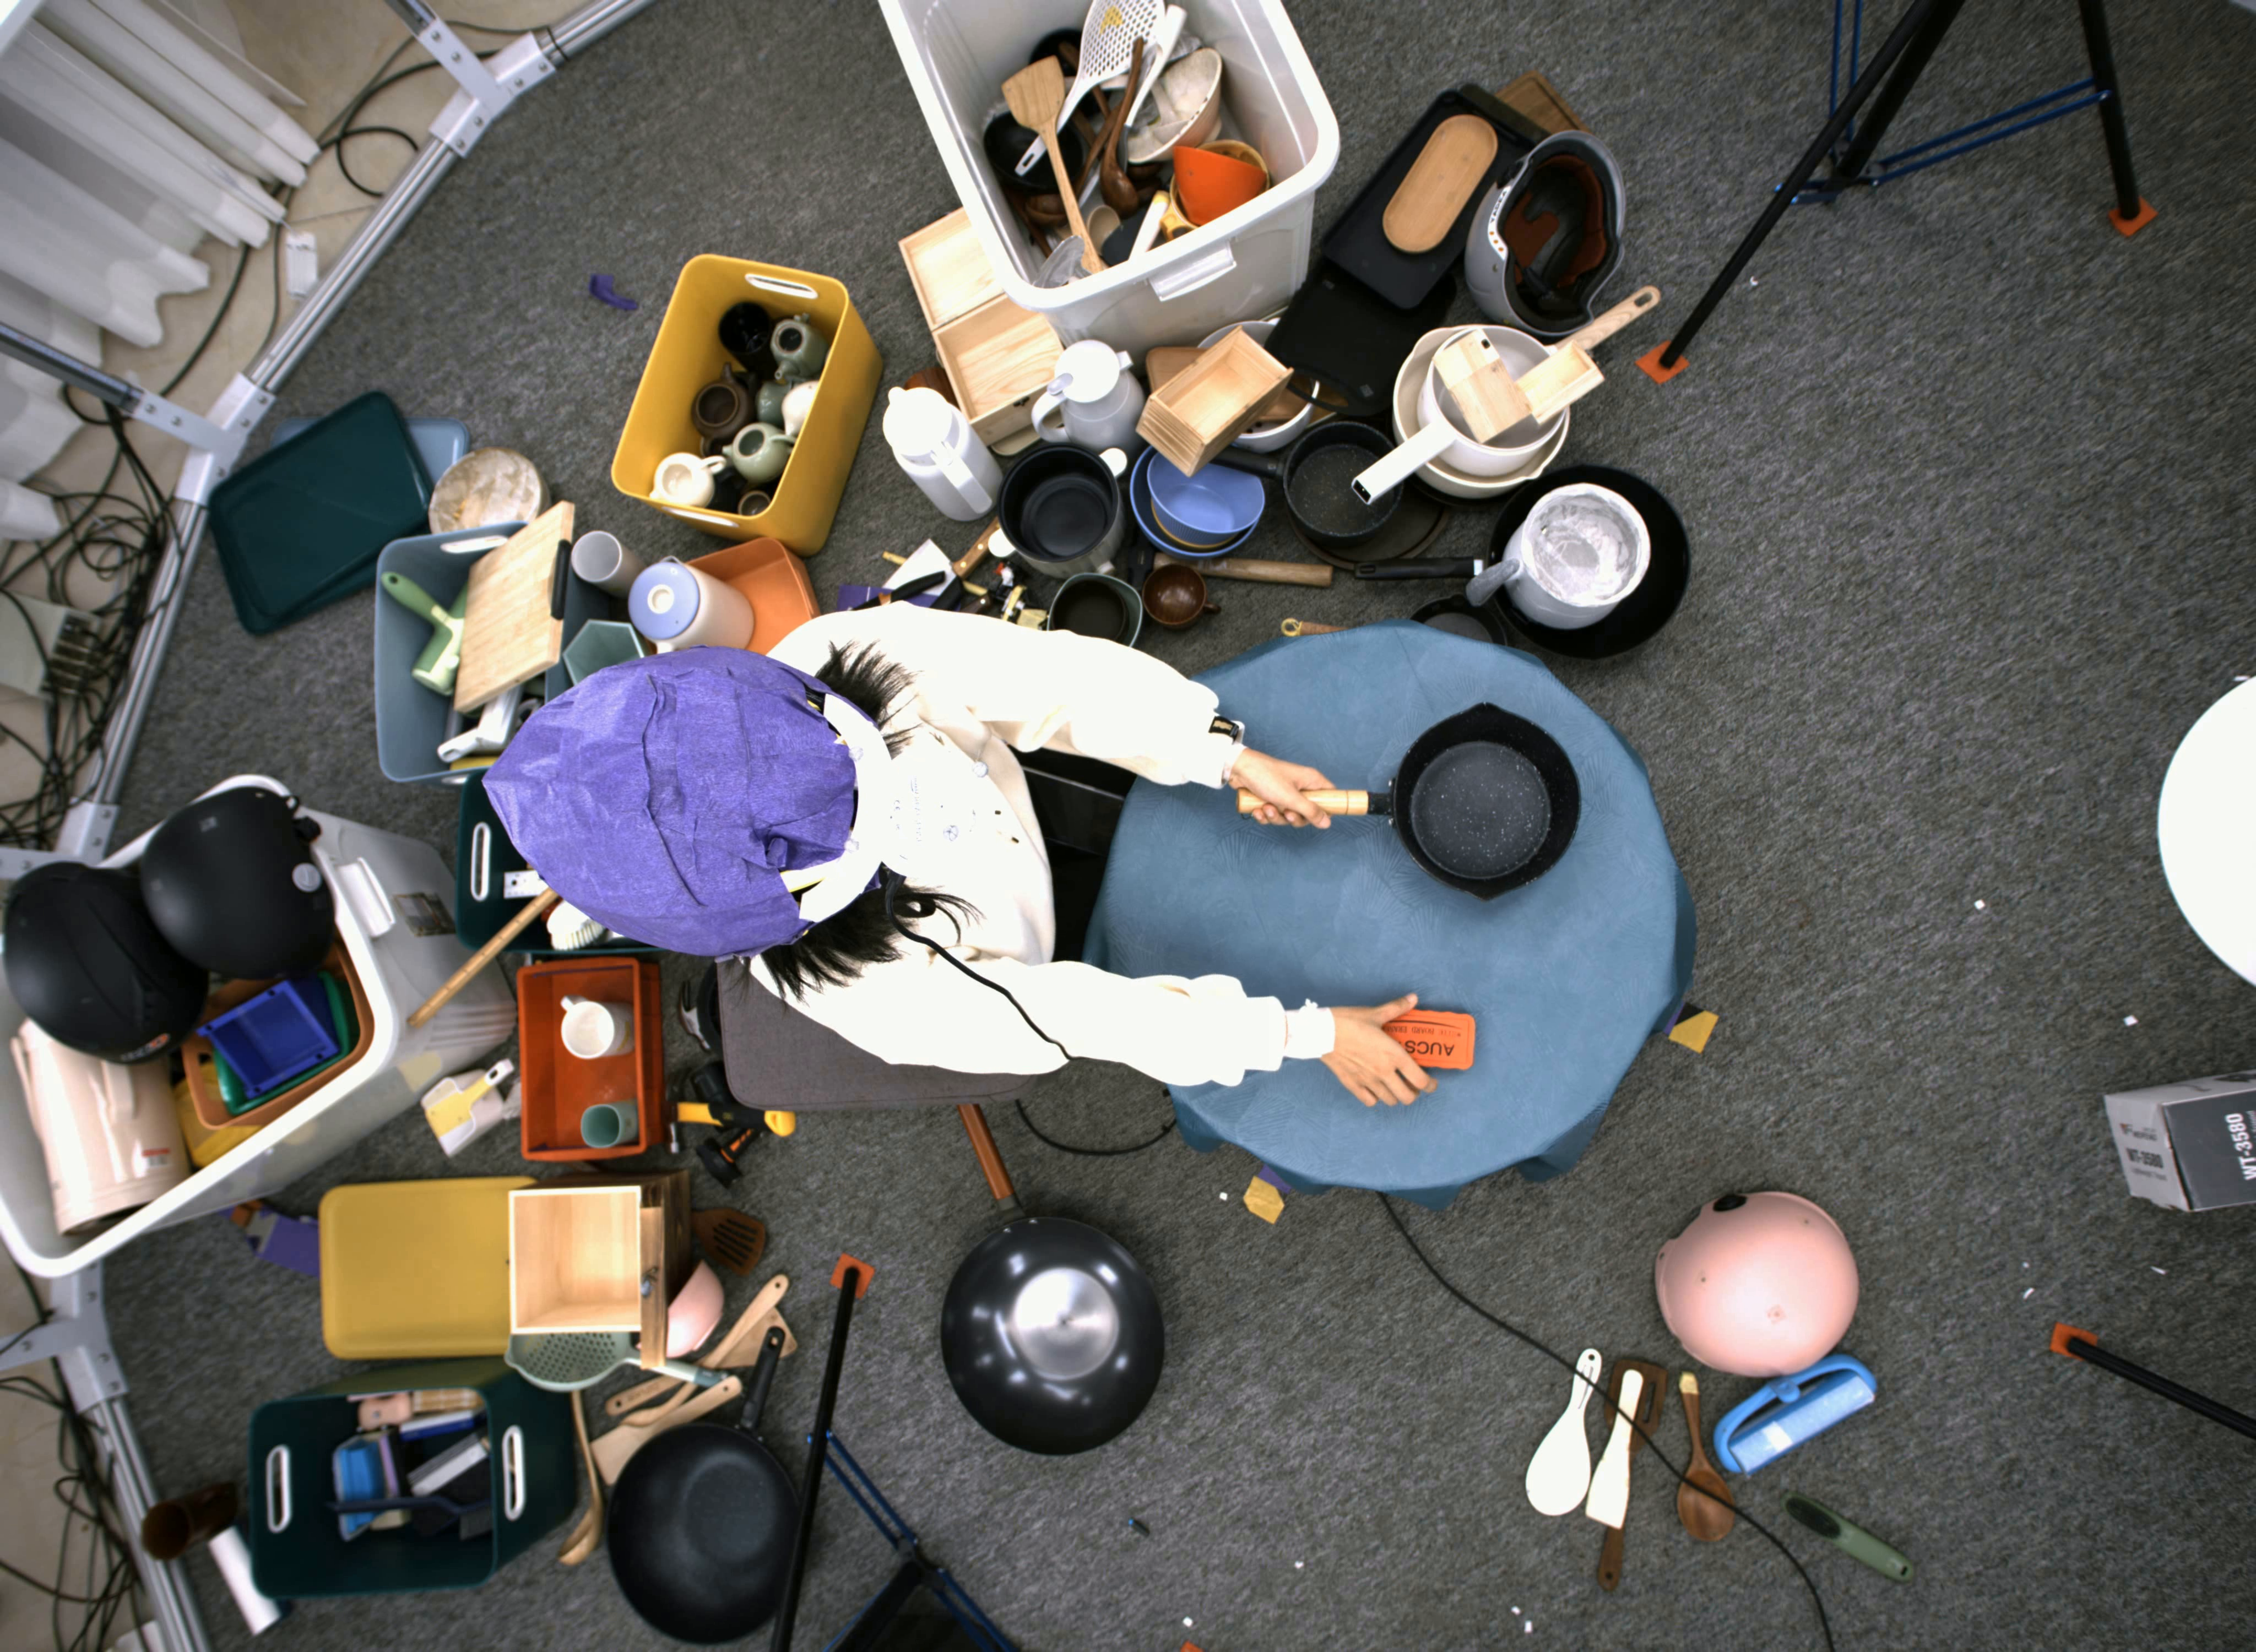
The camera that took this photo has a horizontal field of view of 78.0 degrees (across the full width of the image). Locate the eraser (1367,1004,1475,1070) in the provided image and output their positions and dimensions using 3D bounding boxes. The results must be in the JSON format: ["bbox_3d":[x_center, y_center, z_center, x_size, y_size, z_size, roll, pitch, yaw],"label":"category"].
[{"bbox_3d":[0.303,0.217,1.434,0.108,0.023,0.059,5,89,11],"label":"eraser"}]

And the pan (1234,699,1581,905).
[{"bbox_3d":[0.282,-0.022,1.408,0.344,0.108,0.207,-2,87,9],"label":"pan"}]
